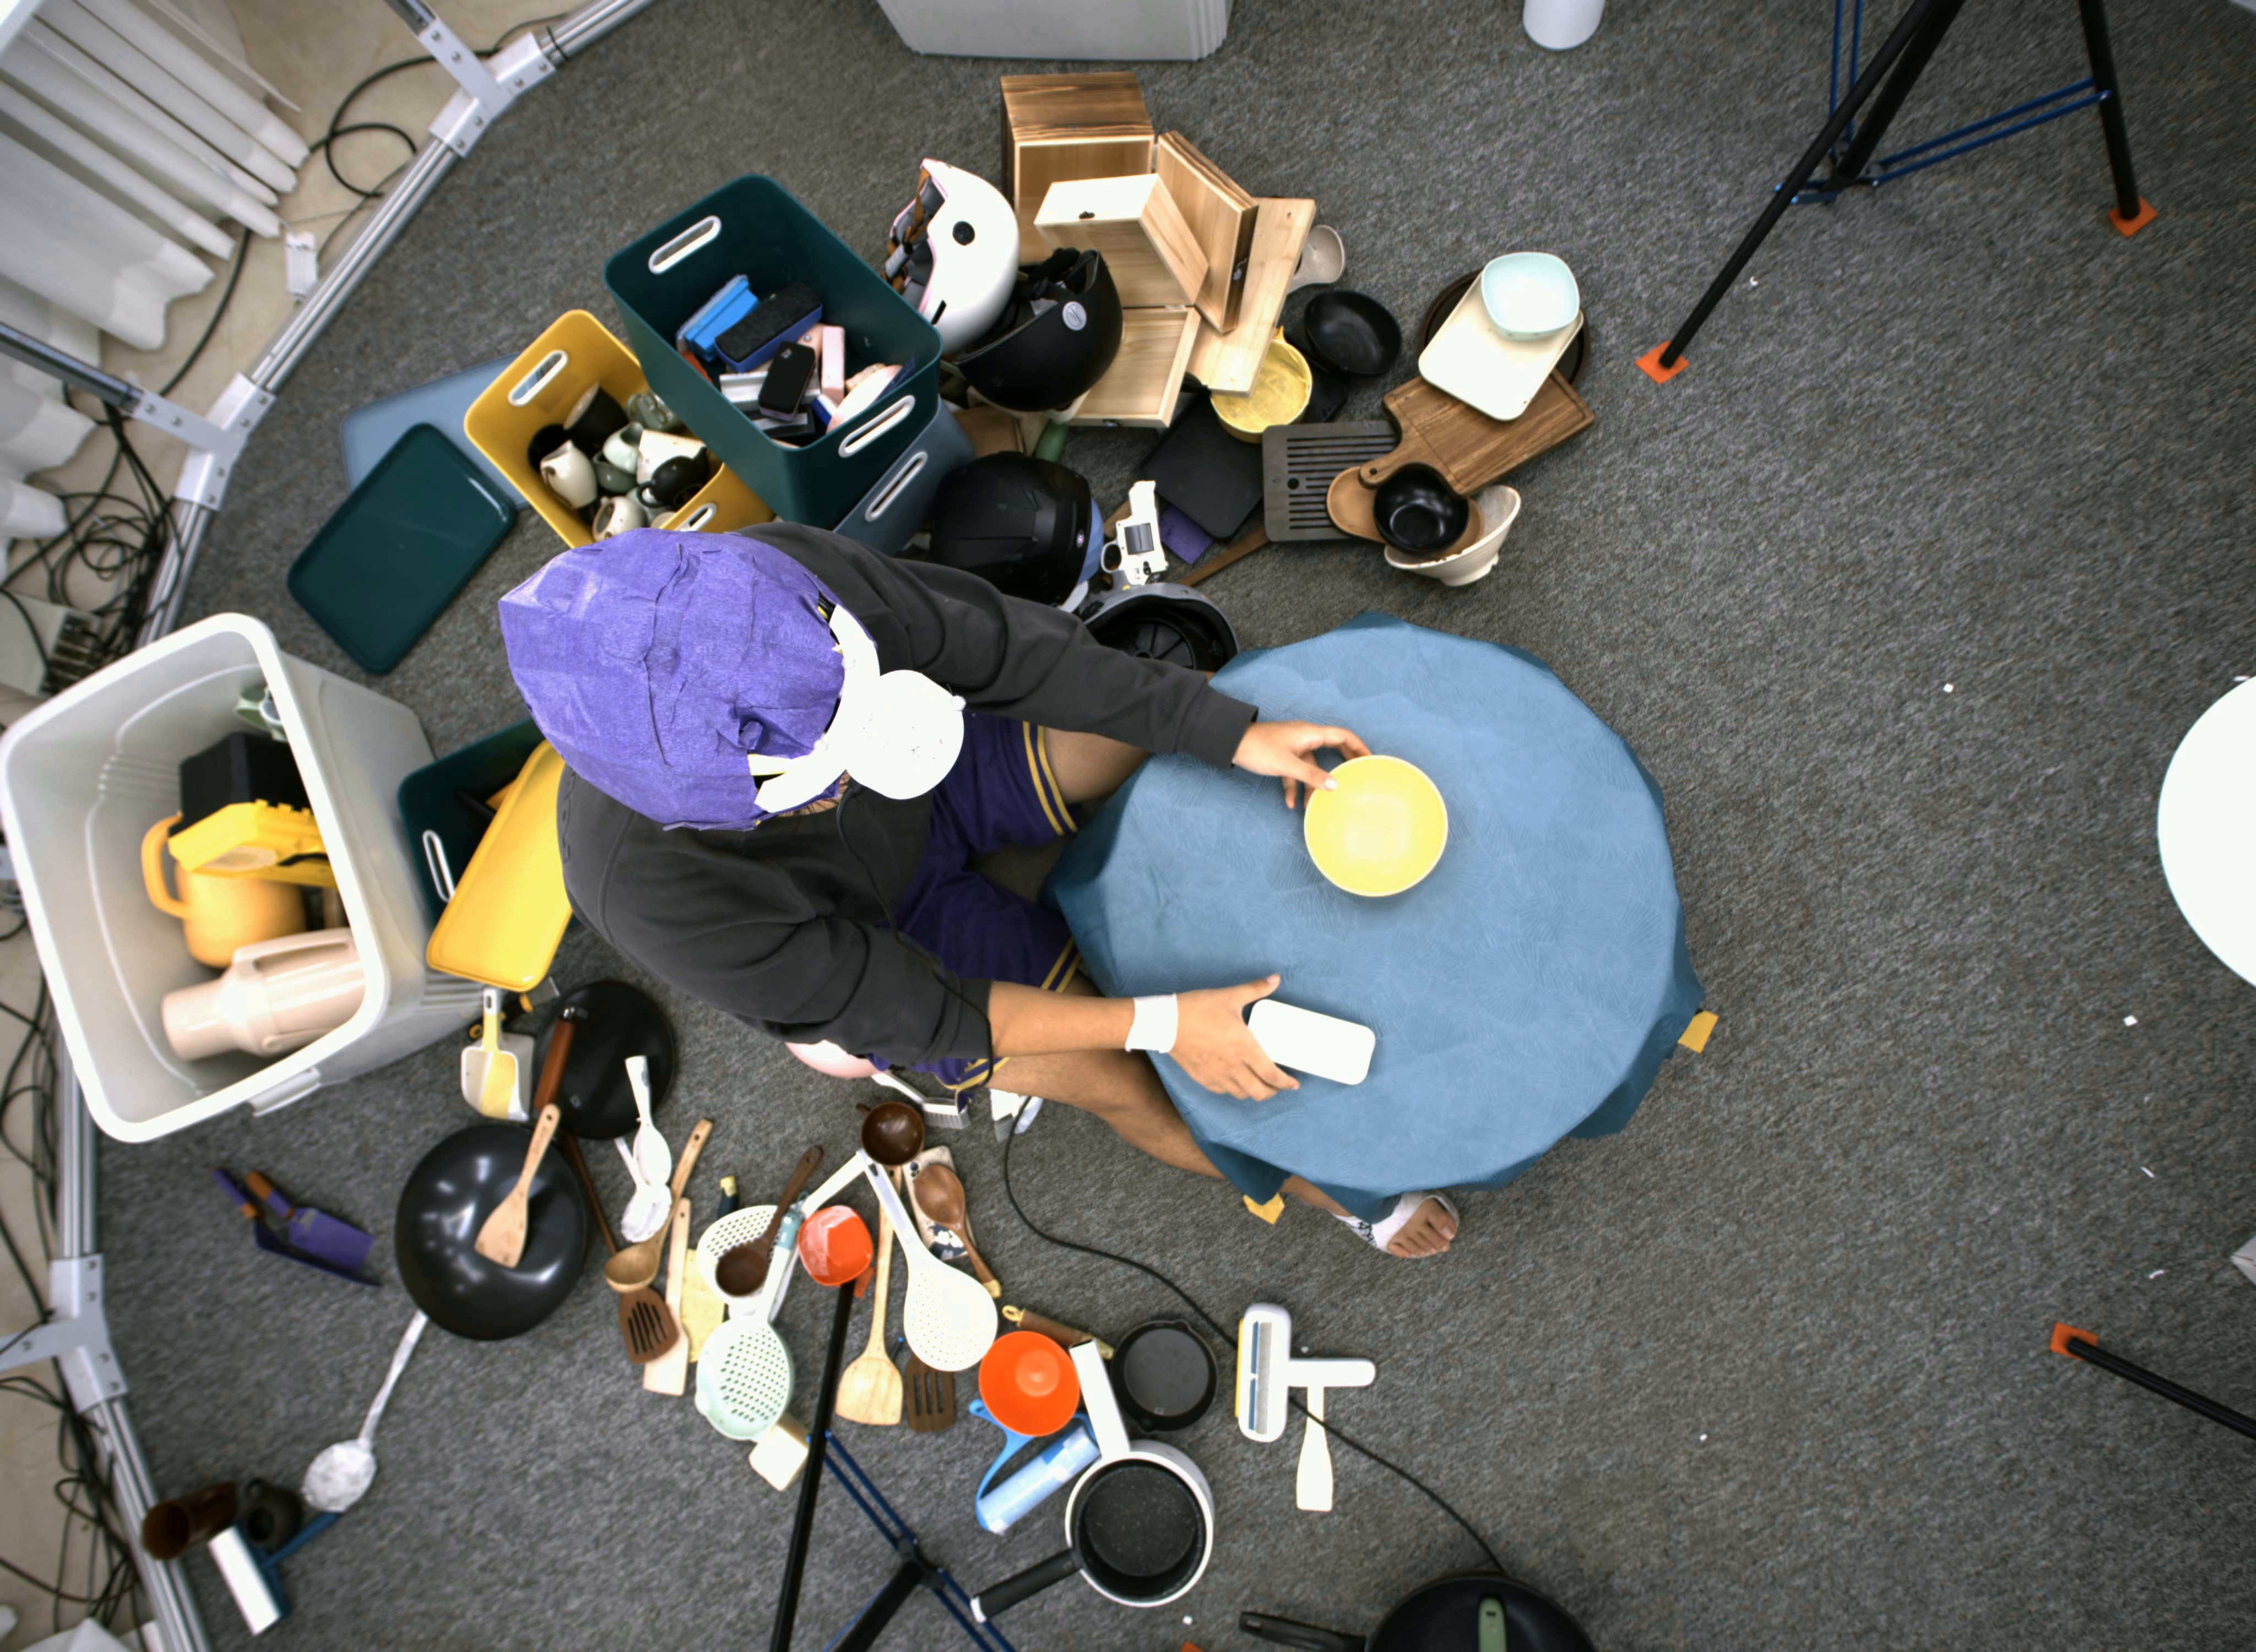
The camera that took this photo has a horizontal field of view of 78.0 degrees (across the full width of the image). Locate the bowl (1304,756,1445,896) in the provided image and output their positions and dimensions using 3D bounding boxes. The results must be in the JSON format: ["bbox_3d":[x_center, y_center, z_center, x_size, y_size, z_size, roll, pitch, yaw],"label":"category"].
[{"bbox_3d":[0.257,0.002,1.438,0.146,0.060,0.144,-1,85,12],"label":"bowl"}]

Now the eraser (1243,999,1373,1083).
[{"bbox_3d":[0.188,0.222,1.450,0.131,0.034,0.063,15,88,10],"label":"eraser"}]
